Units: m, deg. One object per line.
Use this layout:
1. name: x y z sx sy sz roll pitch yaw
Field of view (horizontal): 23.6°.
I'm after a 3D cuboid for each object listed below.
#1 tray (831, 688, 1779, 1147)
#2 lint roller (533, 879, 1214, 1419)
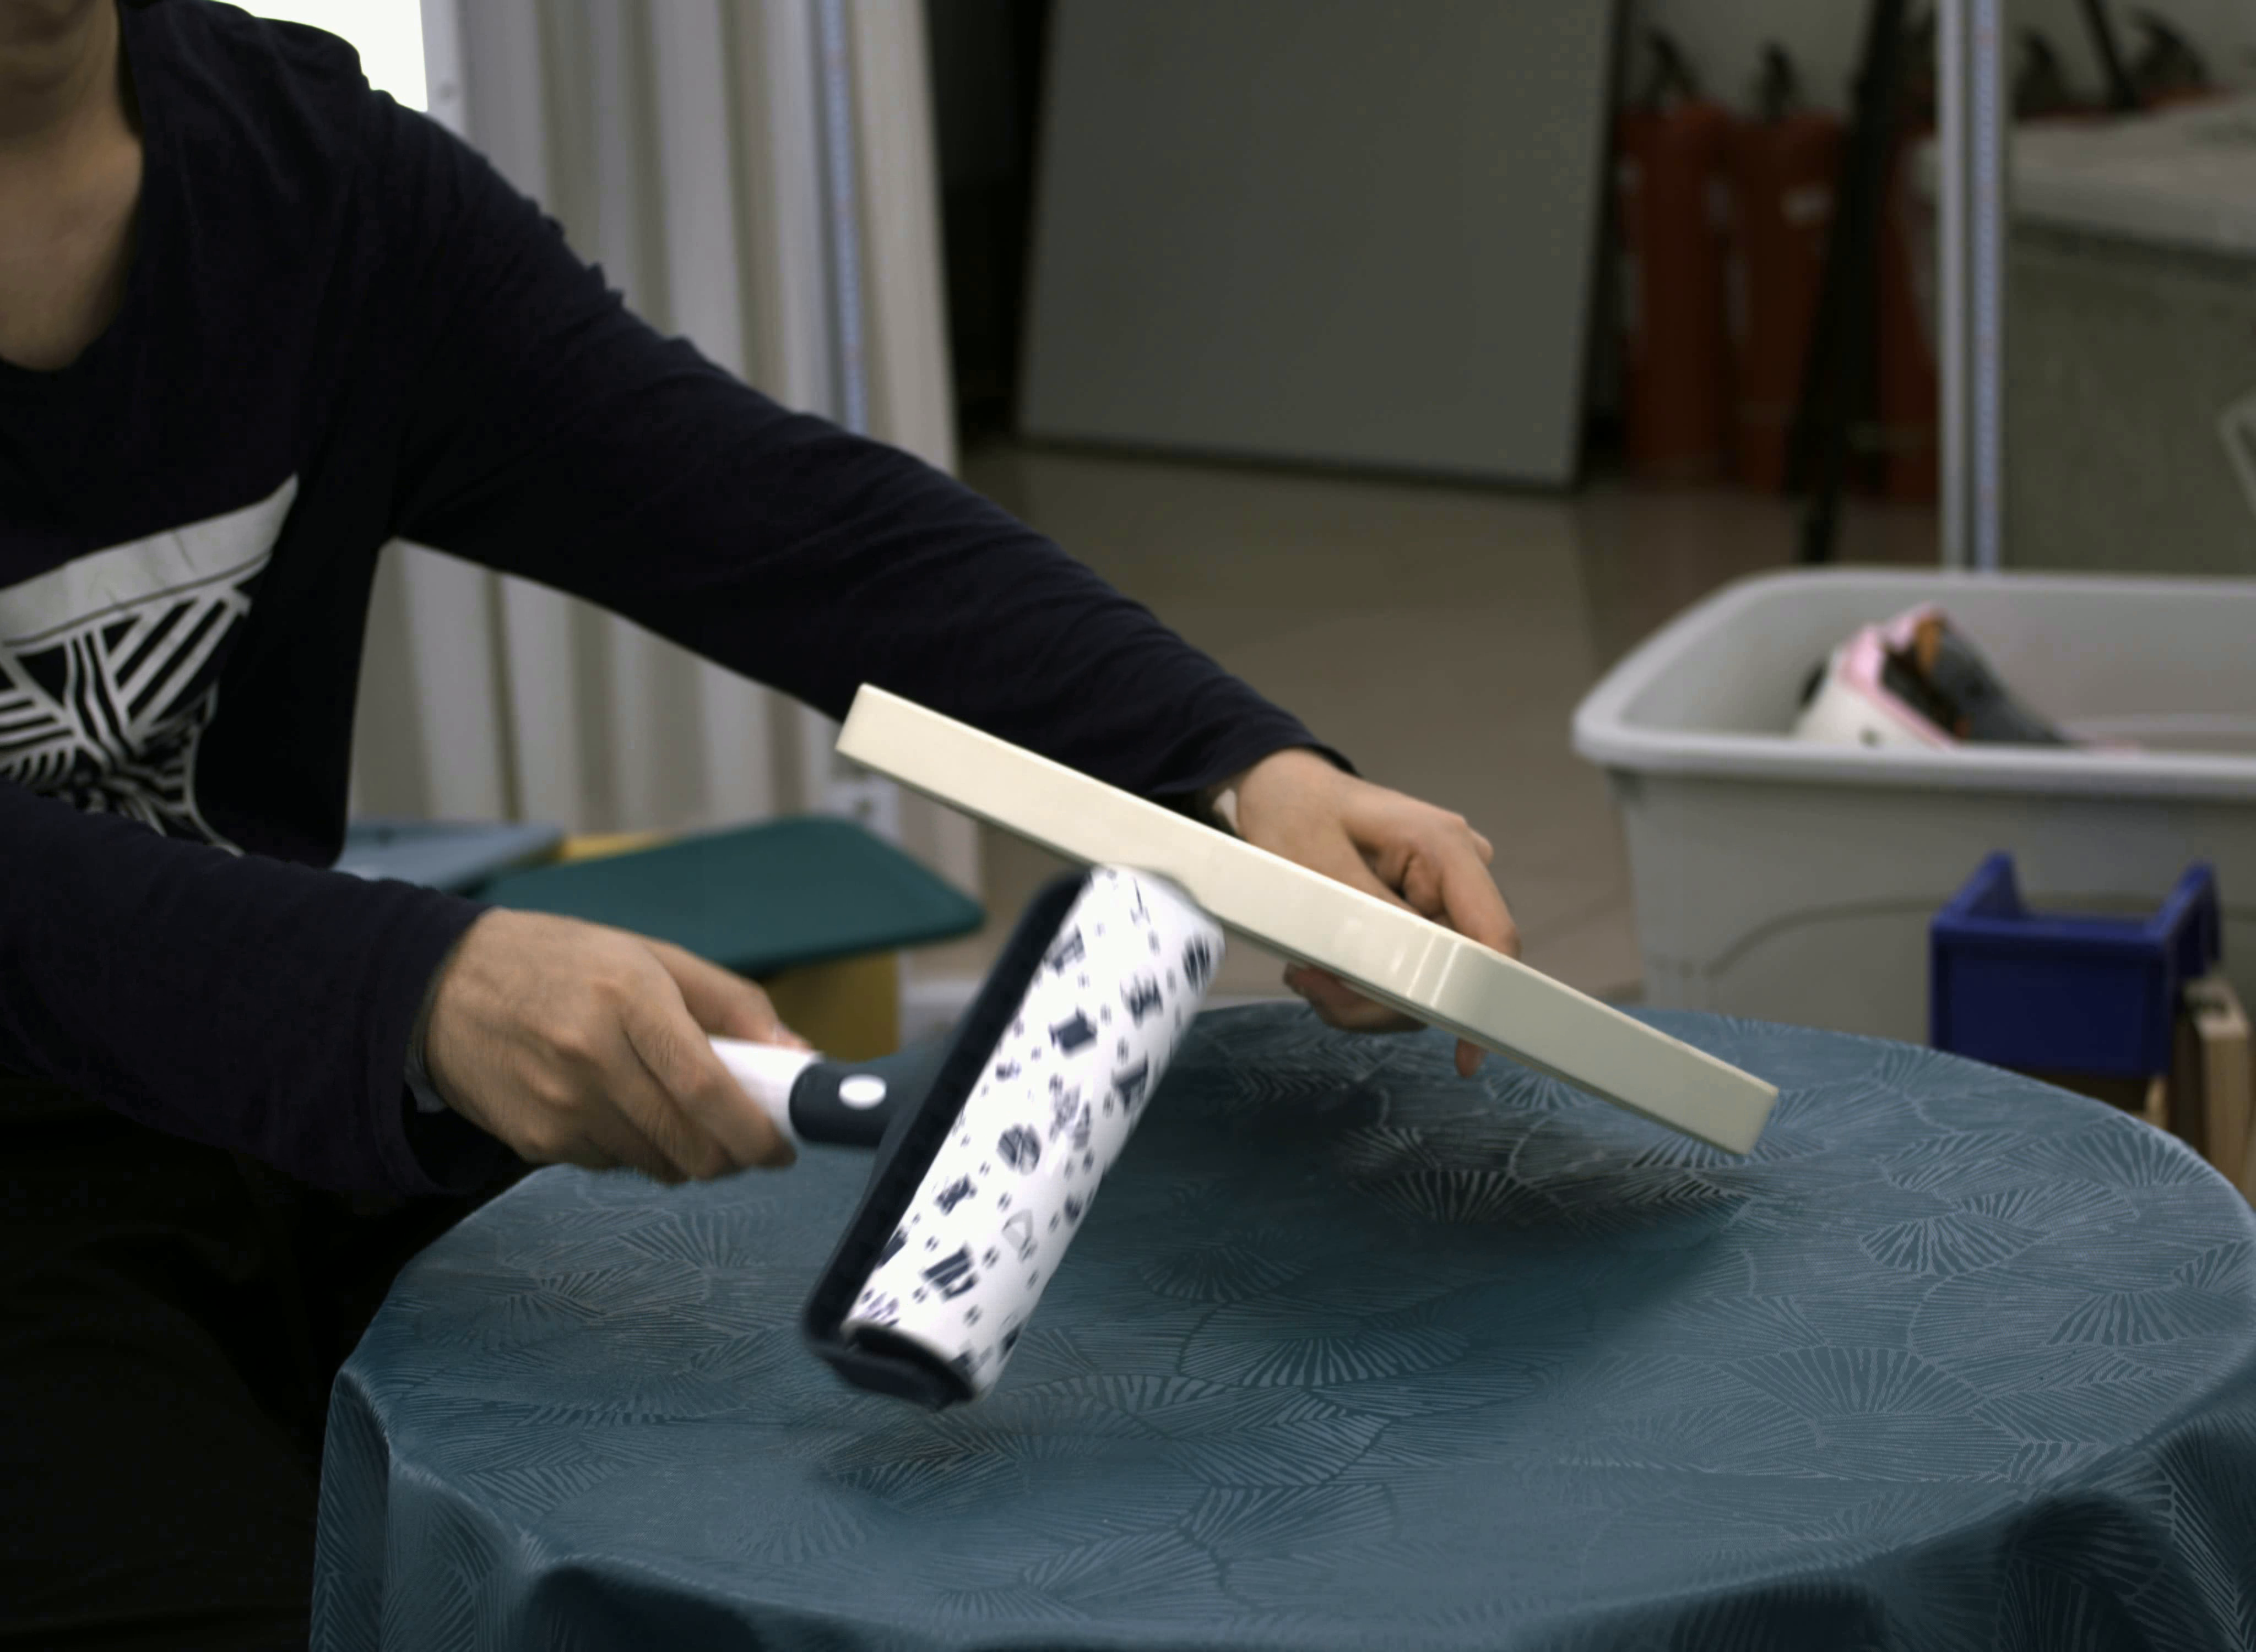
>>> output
1. tray: 0.054 0.029 1.770 0.188 0.027 0.303 23 0 -45
2. lint roller: -0.102 0.088 1.634 0.249 0.050 0.176 4 55 44
